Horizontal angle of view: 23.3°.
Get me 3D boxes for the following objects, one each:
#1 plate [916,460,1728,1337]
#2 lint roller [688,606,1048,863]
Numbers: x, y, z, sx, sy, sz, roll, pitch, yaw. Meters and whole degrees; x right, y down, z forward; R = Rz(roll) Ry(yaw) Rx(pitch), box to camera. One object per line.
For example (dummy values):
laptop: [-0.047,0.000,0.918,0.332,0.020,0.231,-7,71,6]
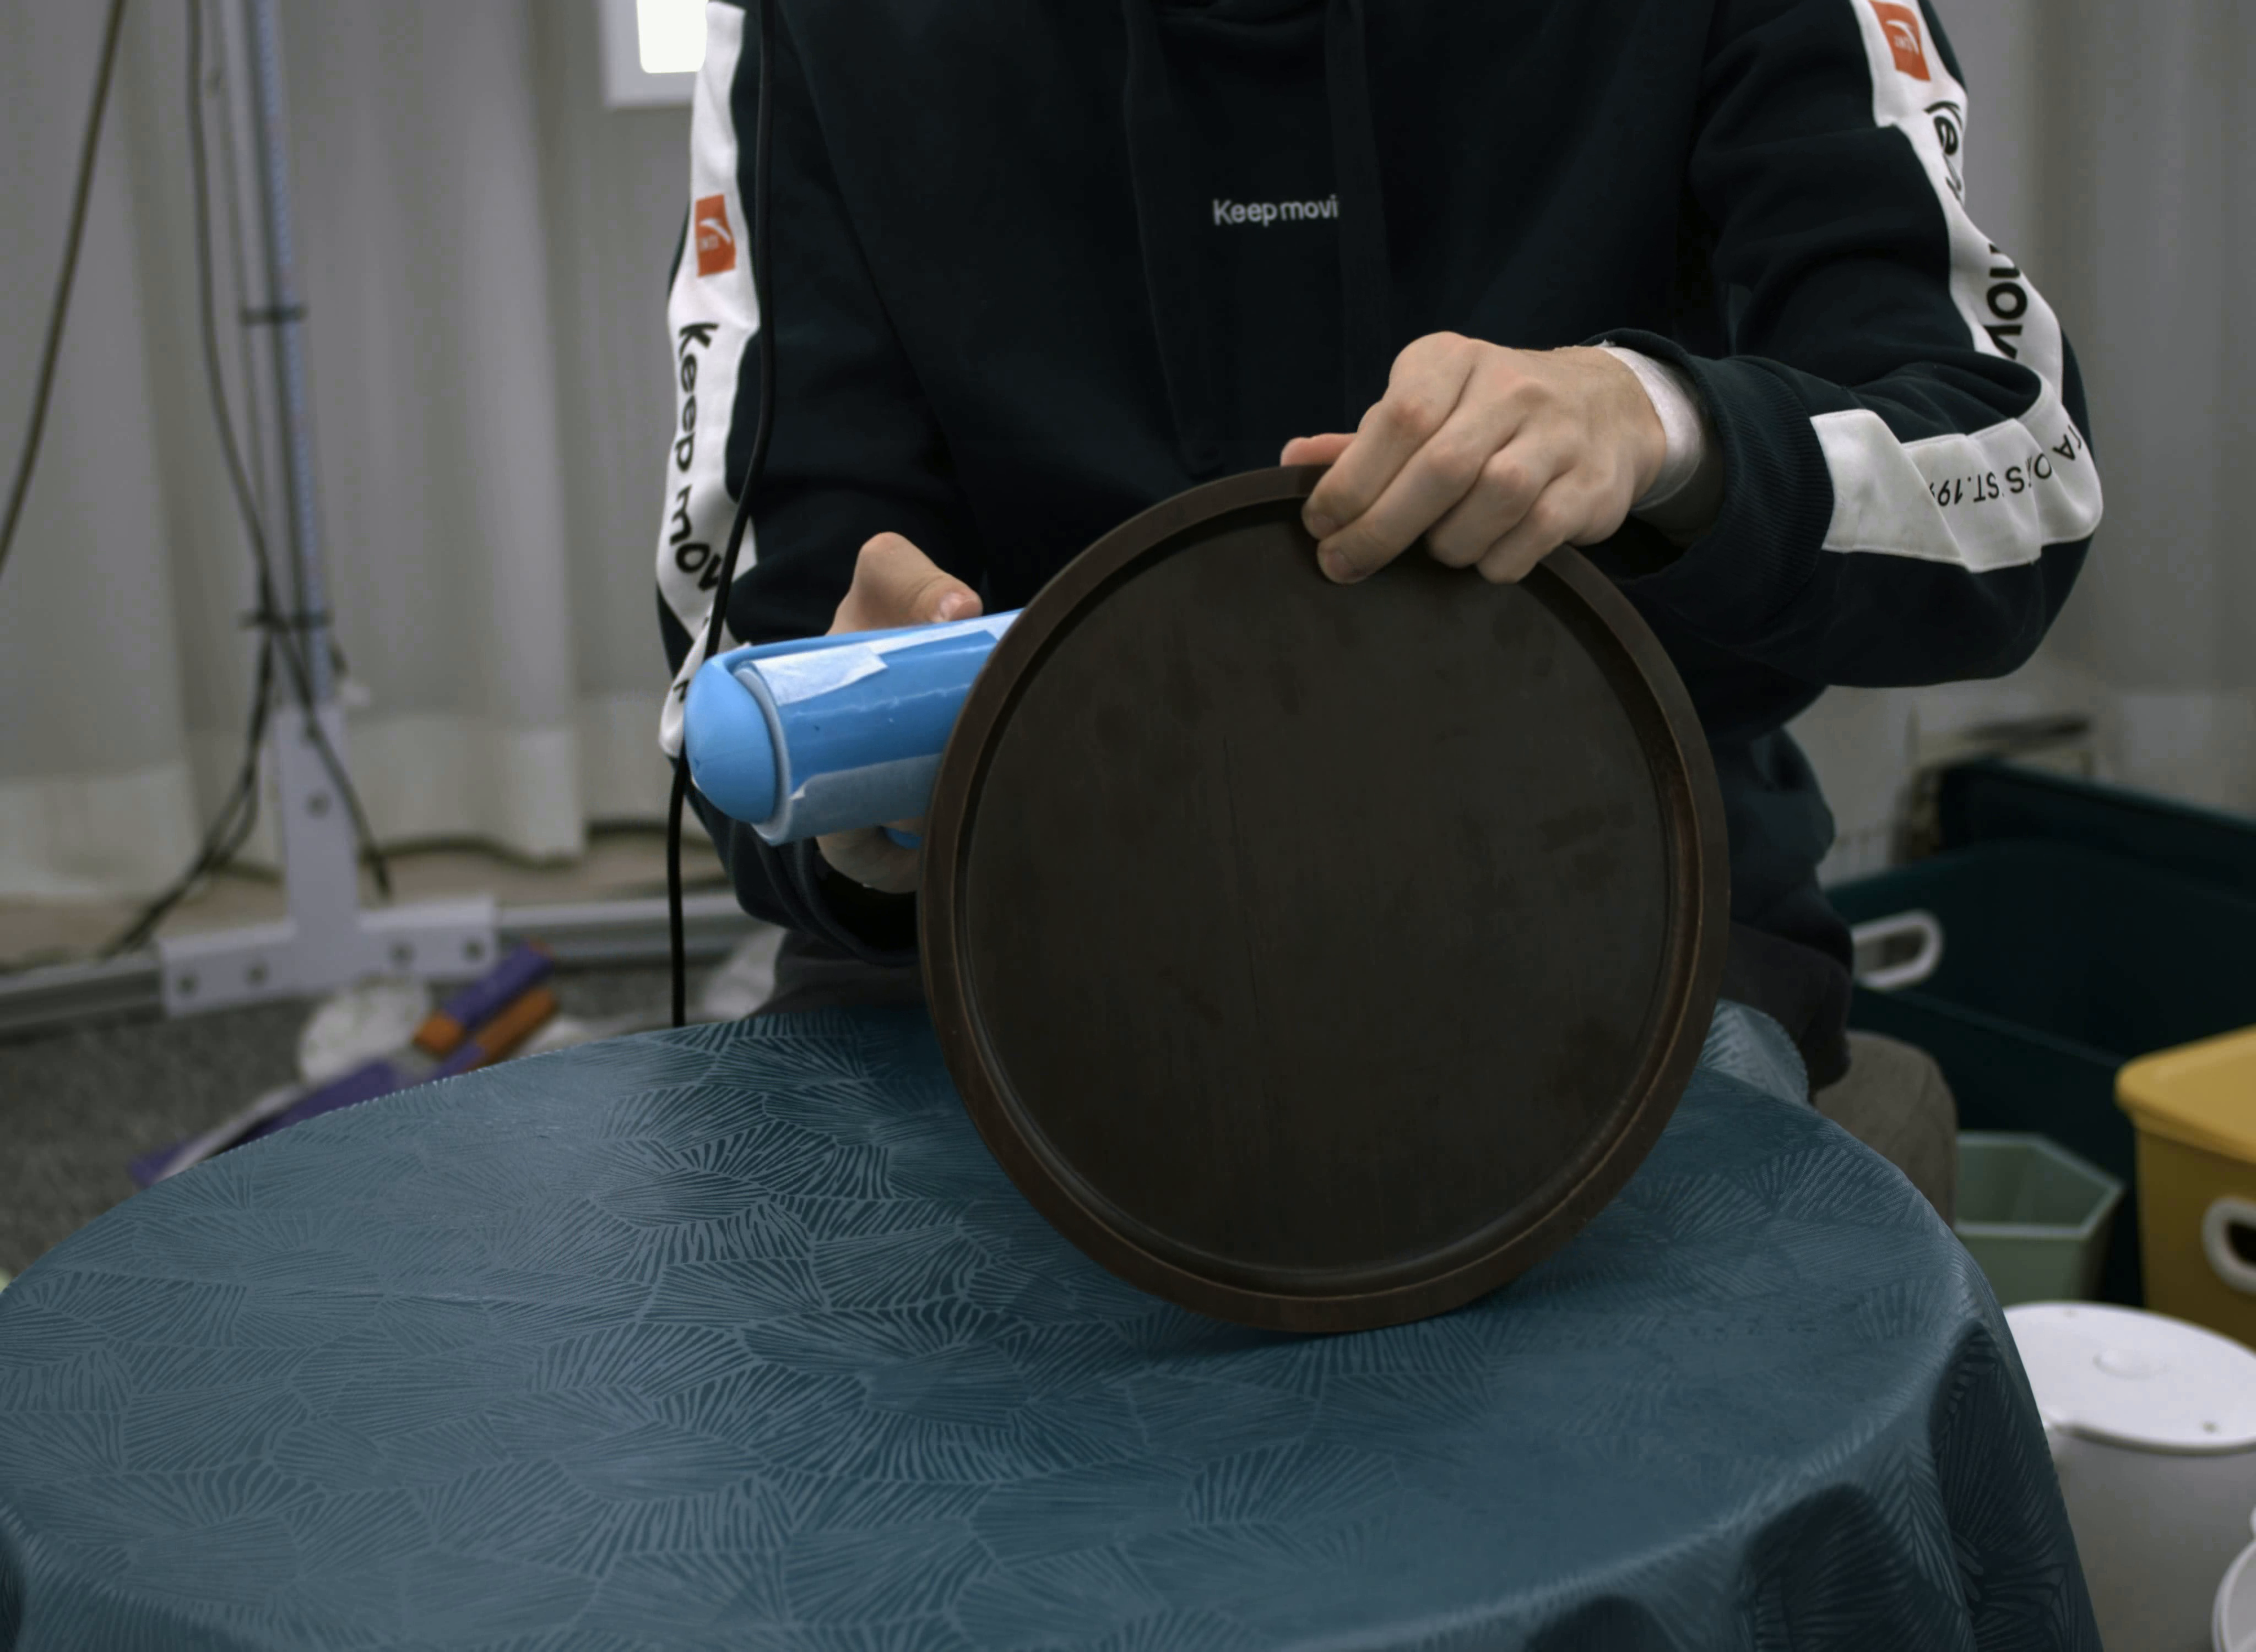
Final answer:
plate: [0.057,0.021,1.583,0.253,0.255,0.029,-8,4,-20]
lint roller: [-0.044,-0.032,1.673,0.228,0.068,0.180,-12,-3,-25]
